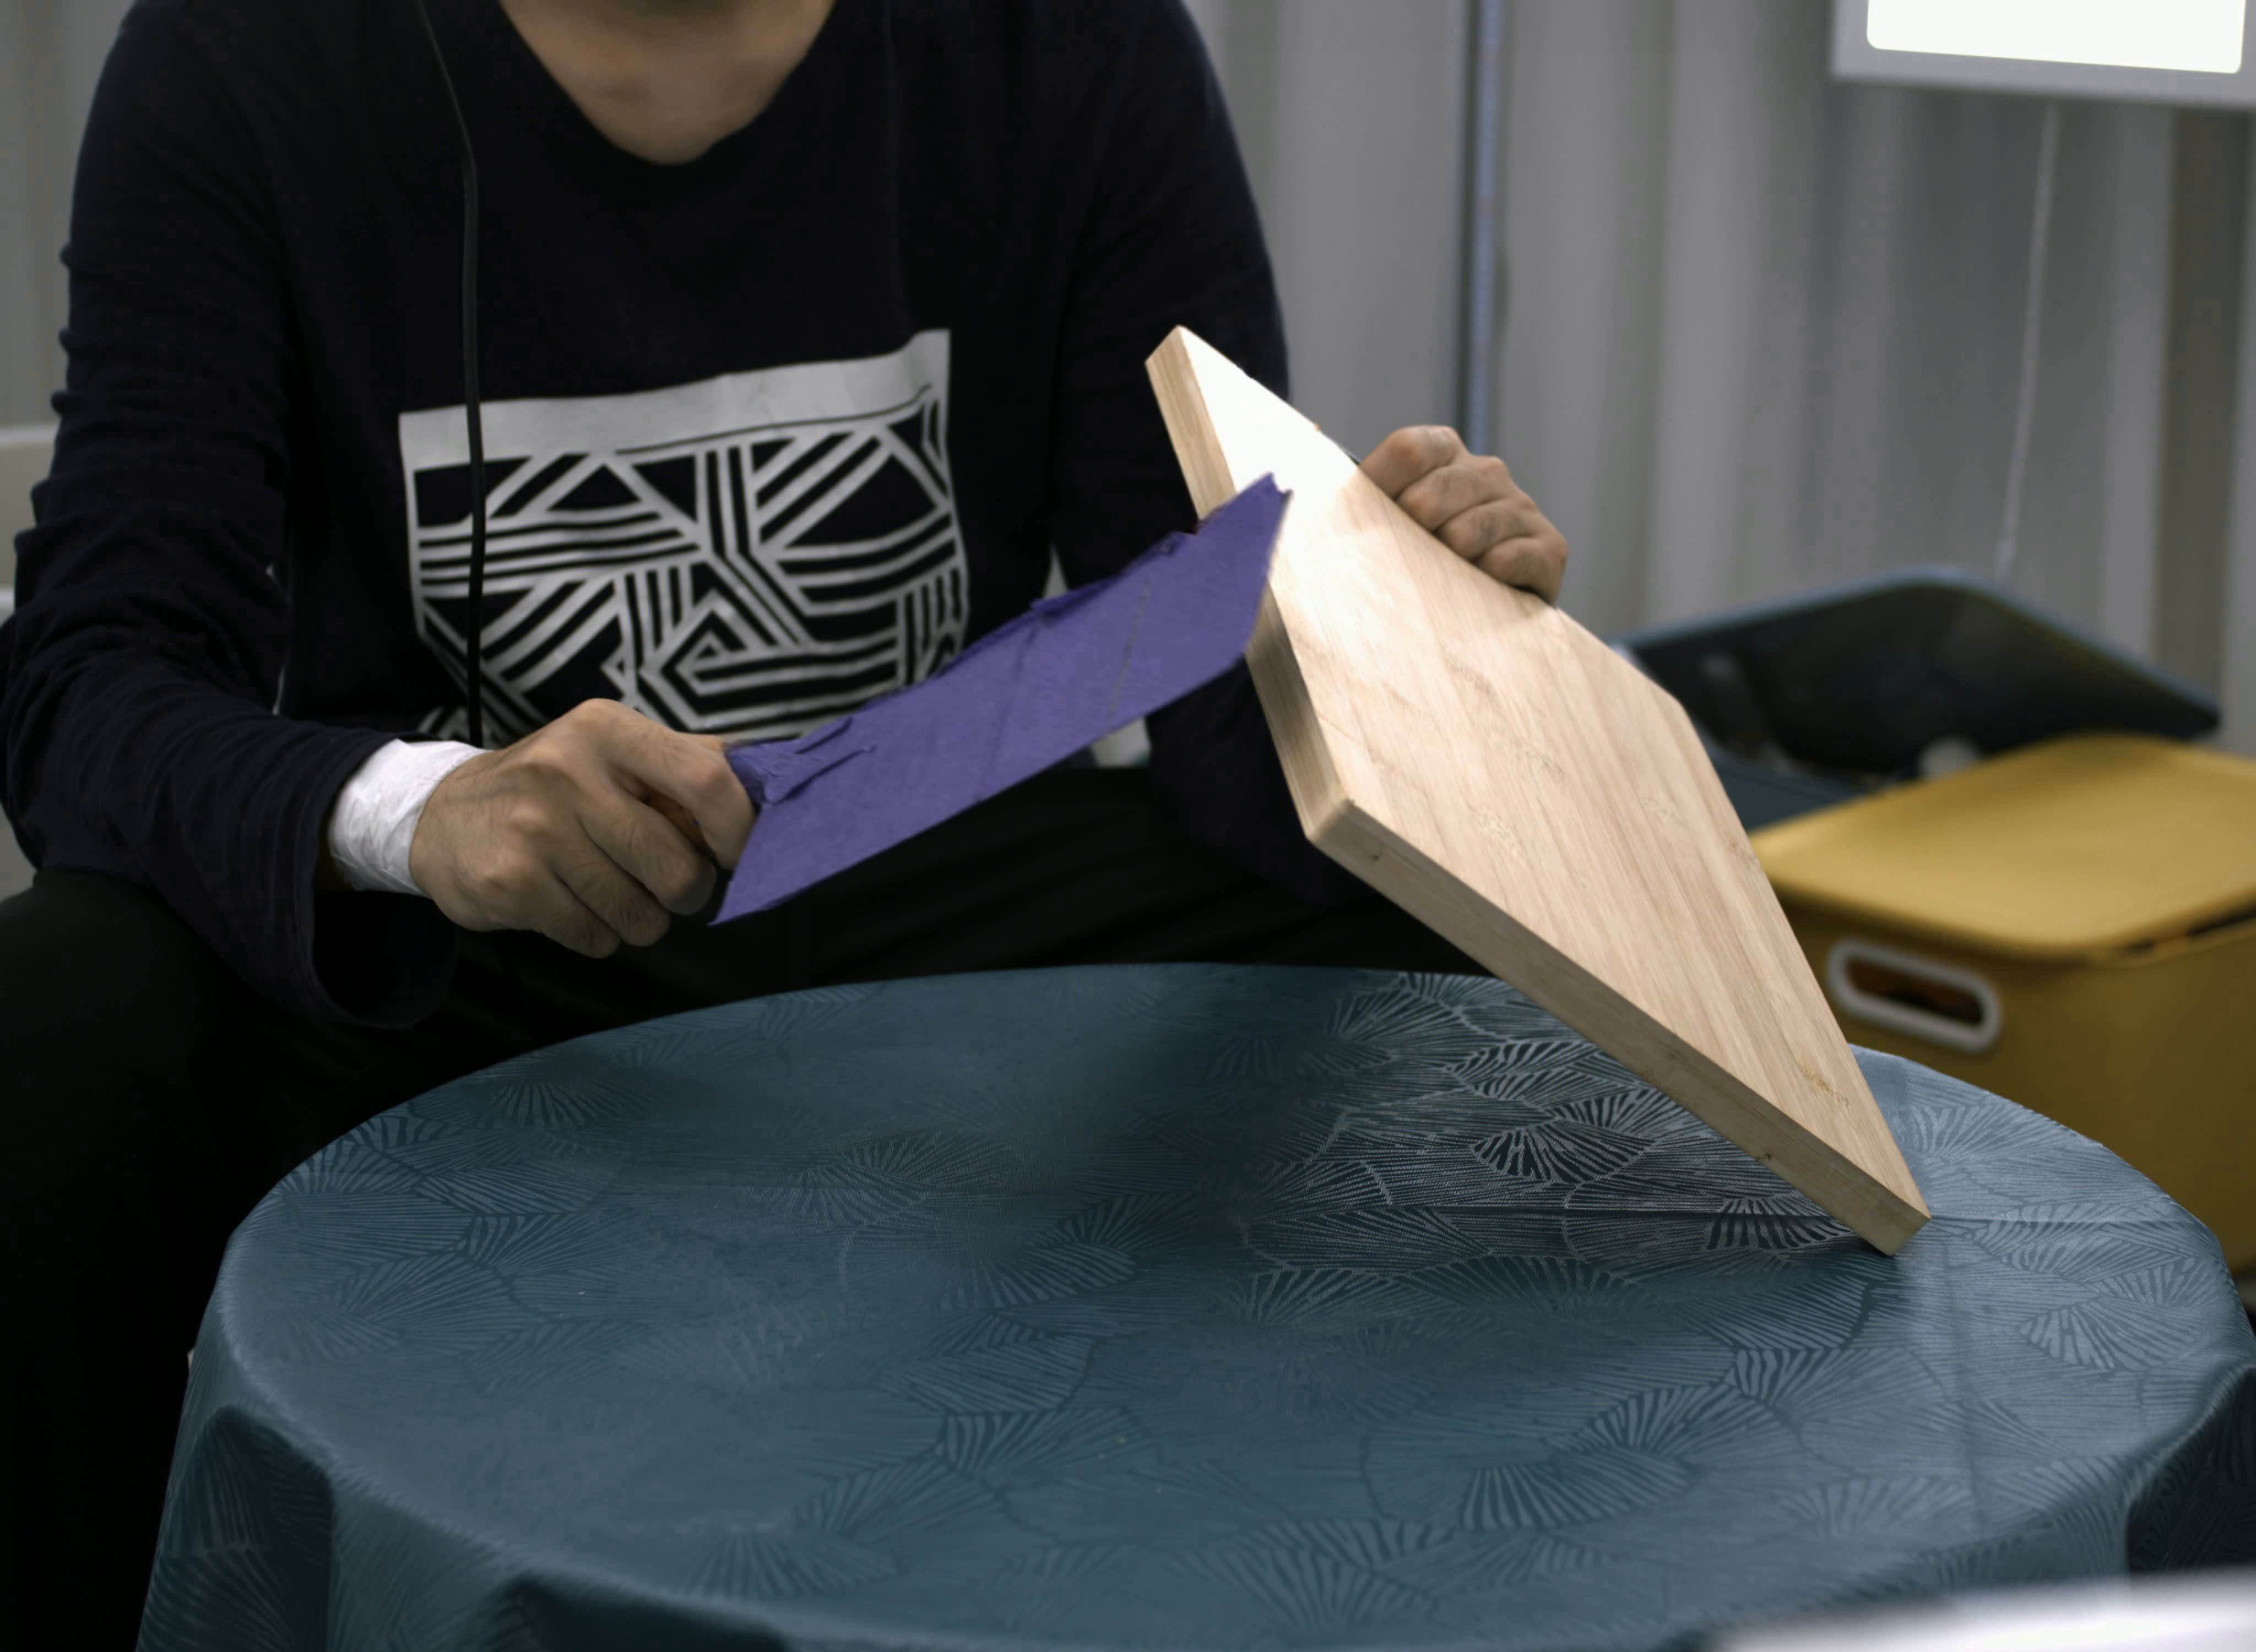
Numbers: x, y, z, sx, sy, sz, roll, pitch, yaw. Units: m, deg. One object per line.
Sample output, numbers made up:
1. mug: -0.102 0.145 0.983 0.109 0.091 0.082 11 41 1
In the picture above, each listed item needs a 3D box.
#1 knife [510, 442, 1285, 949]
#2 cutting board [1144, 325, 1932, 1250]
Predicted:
1. knife: -0.081 -0.021 1.592 0.314 0.032 0.103 -30 25 32
2. cutting board: 0.121 -0.021 1.671 0.253 0.023 0.345 35 18 -25
